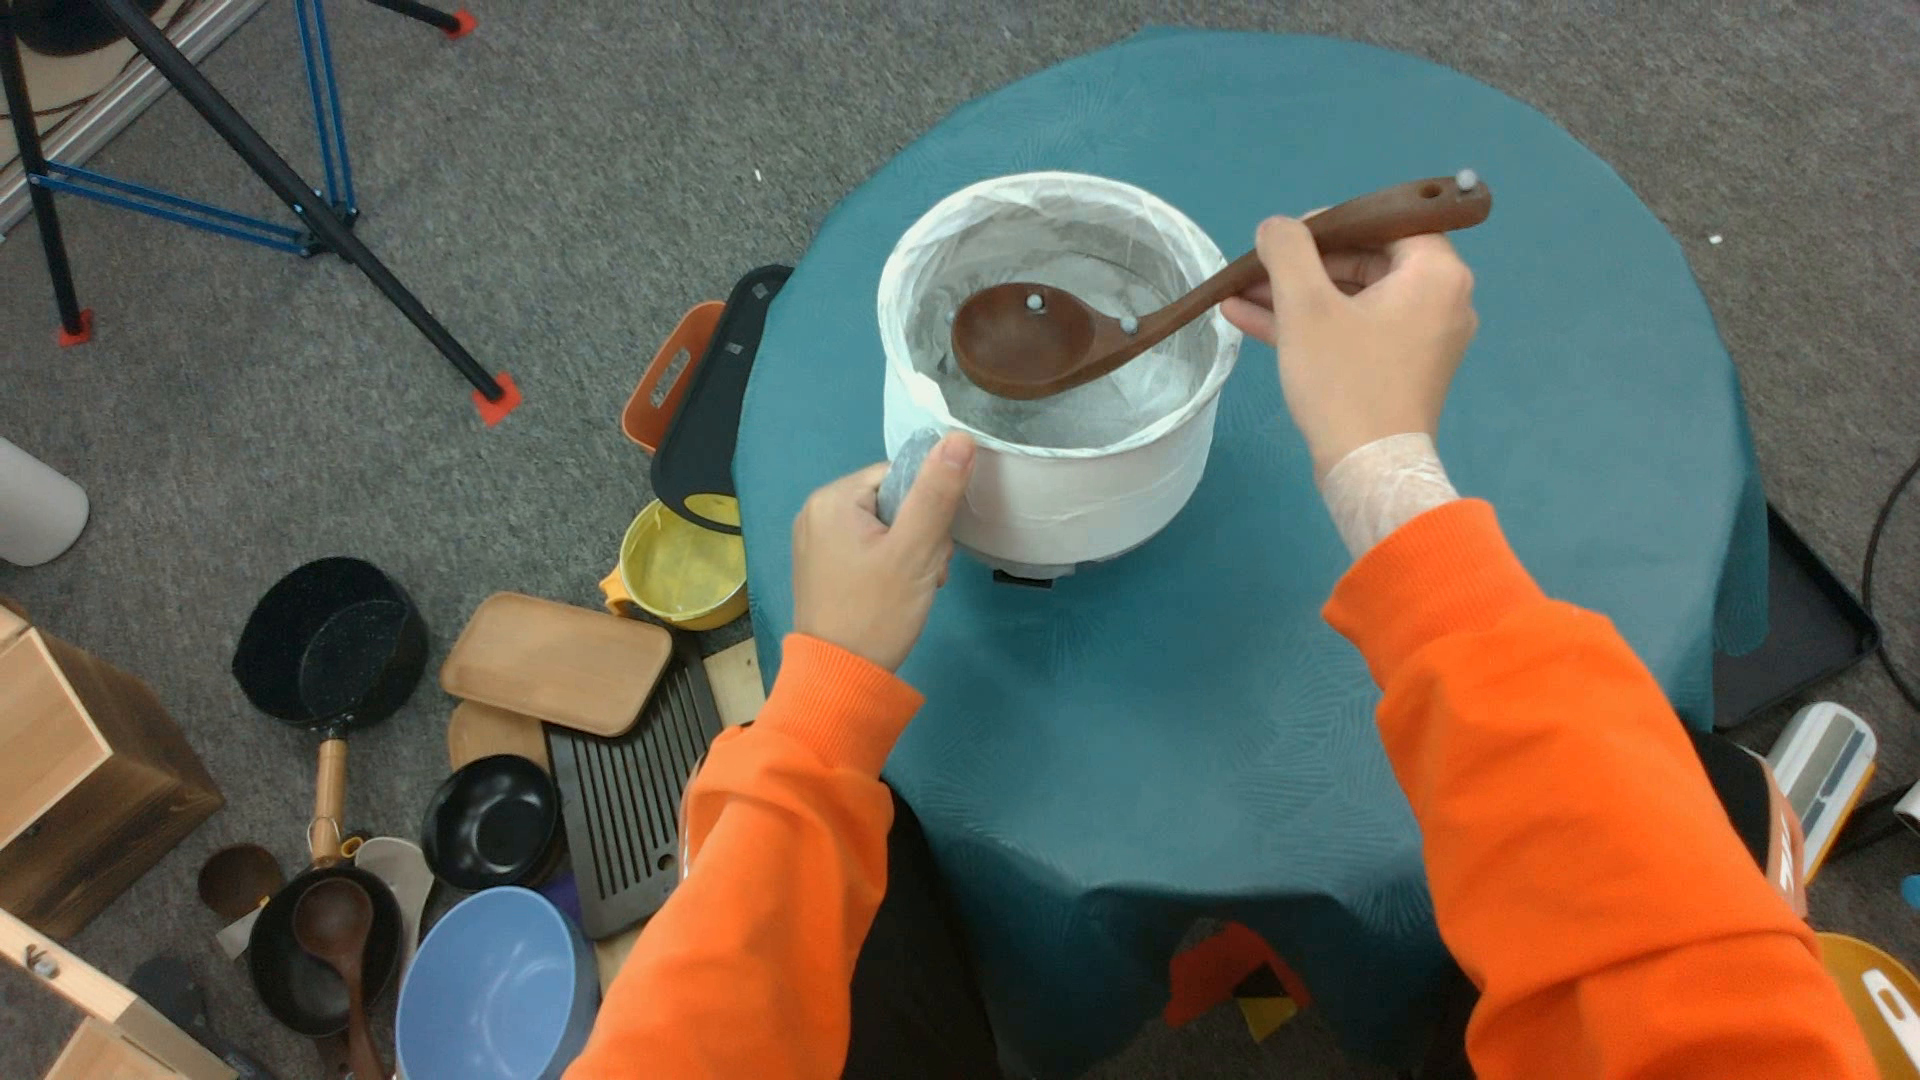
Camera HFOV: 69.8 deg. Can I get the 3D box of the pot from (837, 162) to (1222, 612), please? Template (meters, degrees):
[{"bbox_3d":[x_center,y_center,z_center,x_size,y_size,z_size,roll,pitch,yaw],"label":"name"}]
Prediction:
[{"bbox_3d":[0.021,-0.068,0.708,0.179,0.136,0.234,32,63,17],"label":"pot"}]

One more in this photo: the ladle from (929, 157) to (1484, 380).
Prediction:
[{"bbox_3d":[0.099,-0.133,0.625,0.259,0.065,0.077,-17,46,36],"label":"ladle"}]
